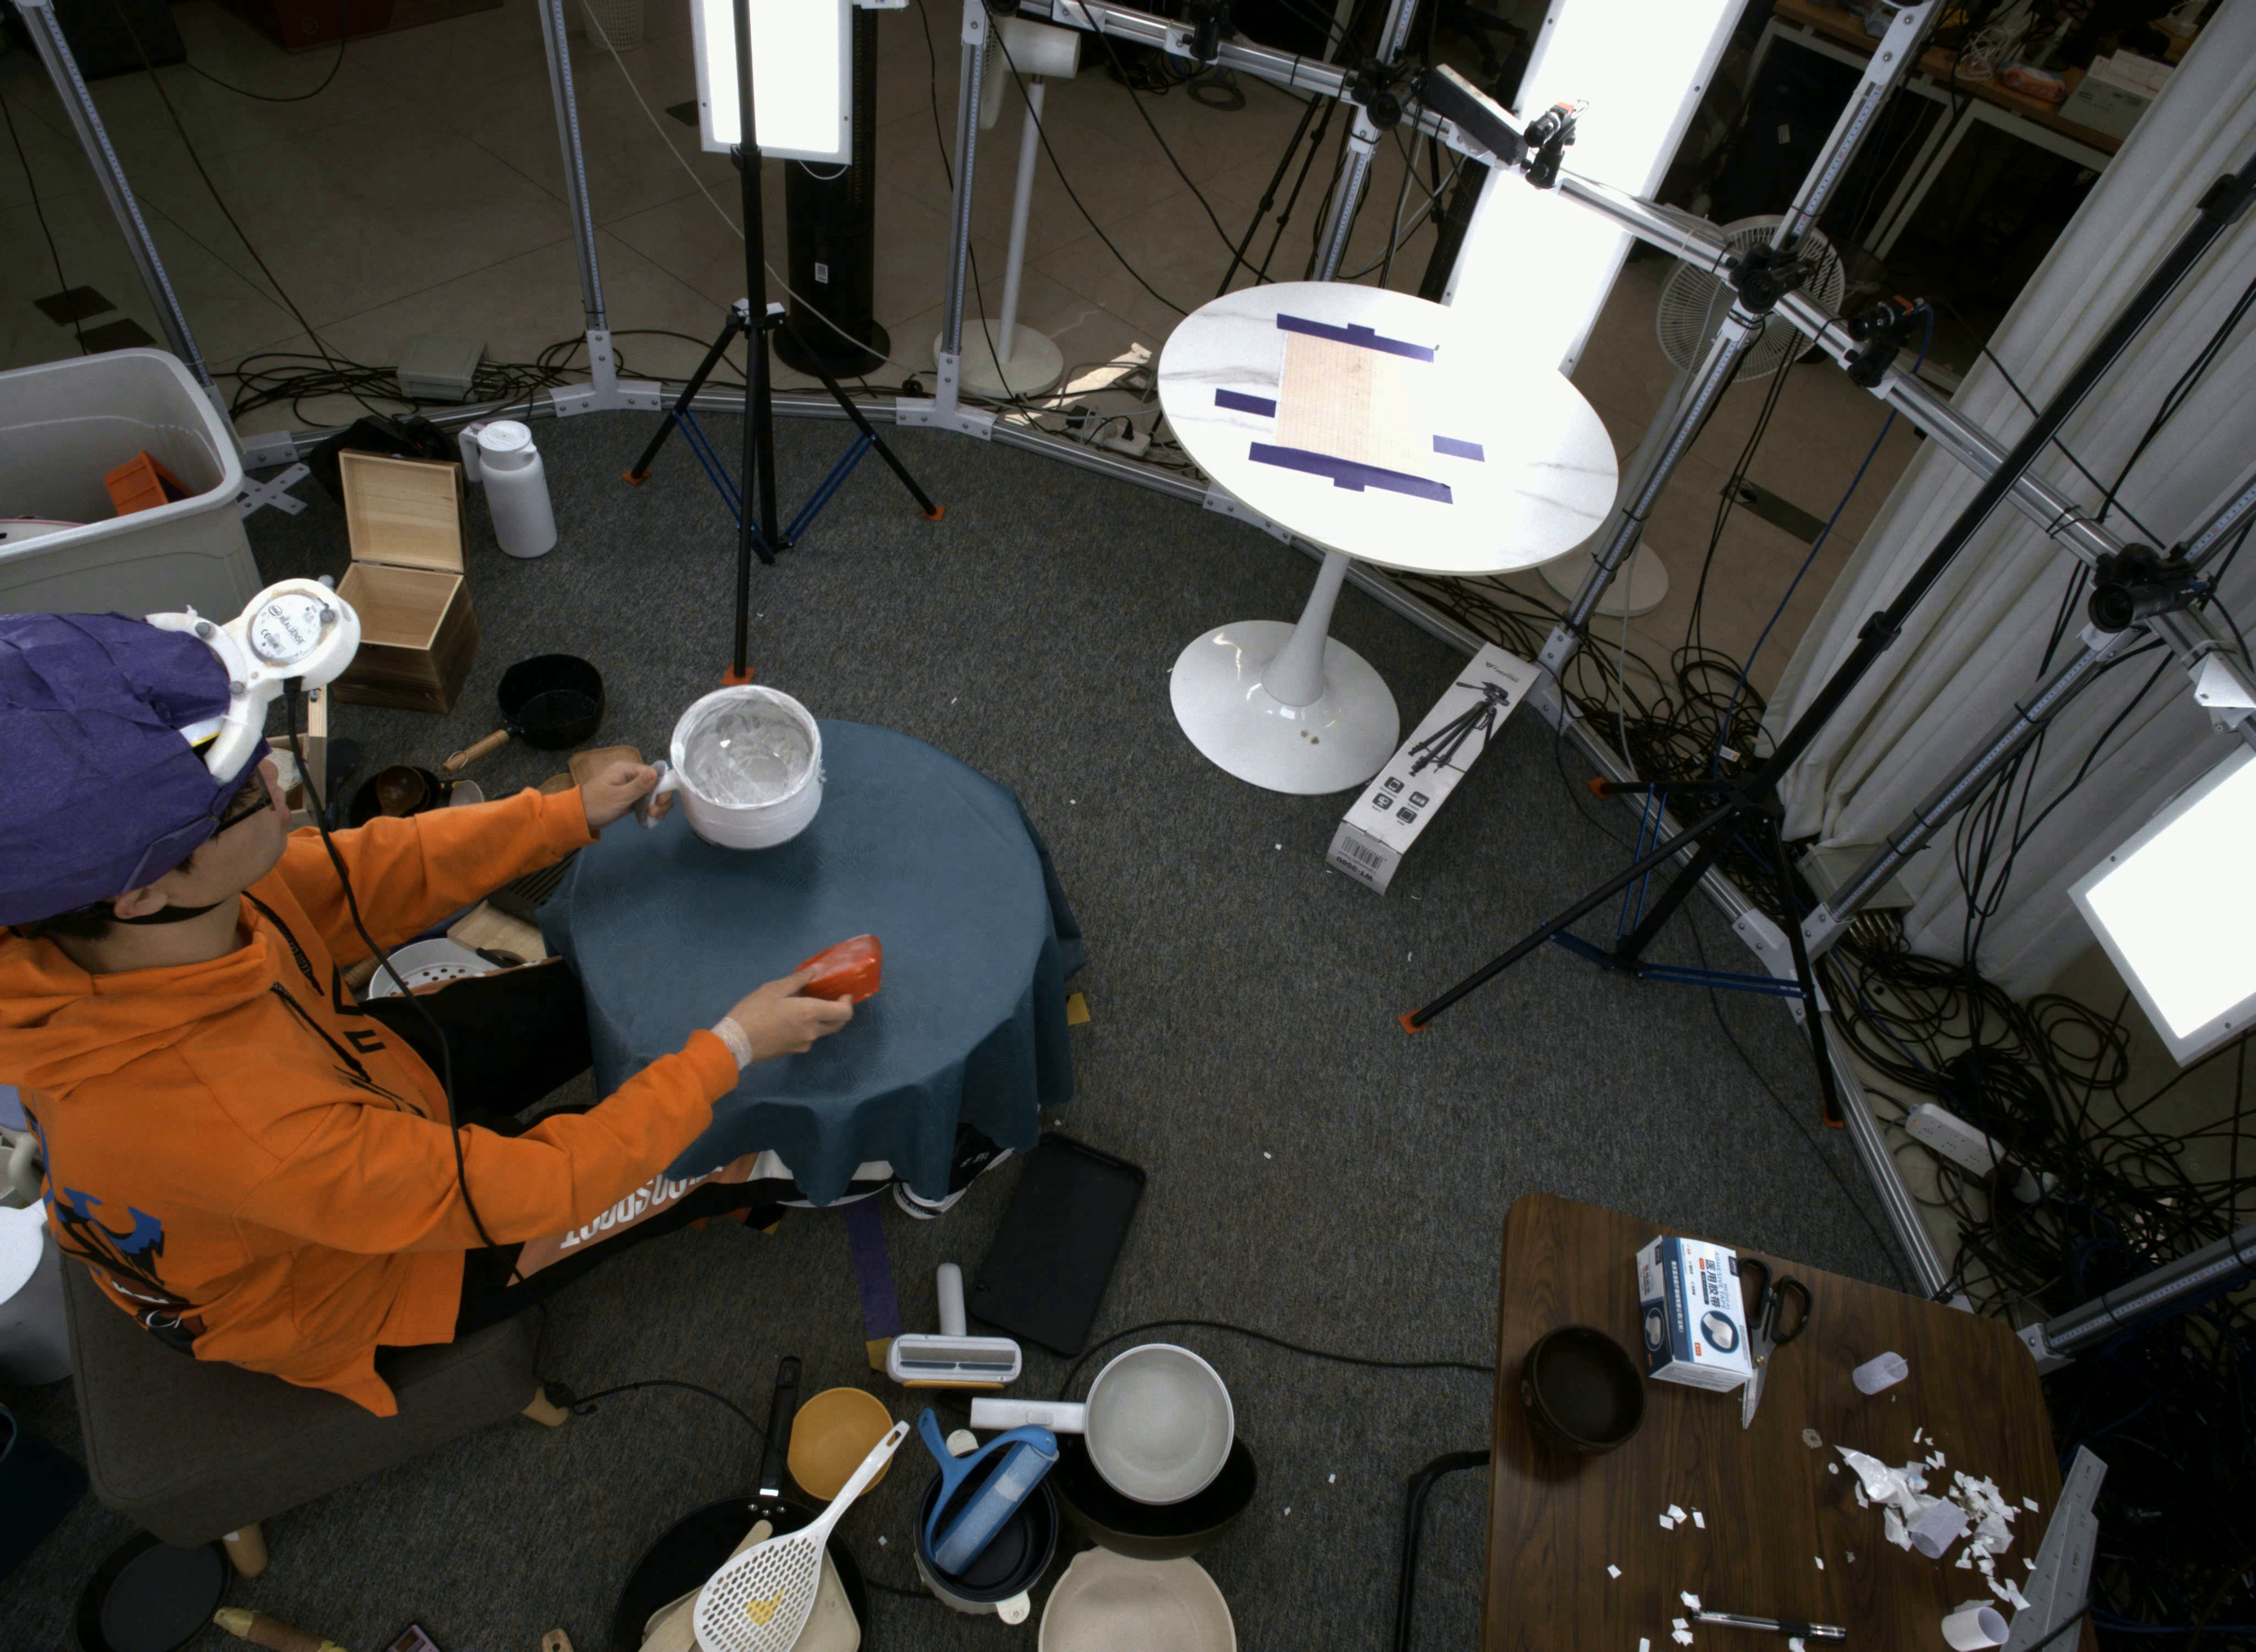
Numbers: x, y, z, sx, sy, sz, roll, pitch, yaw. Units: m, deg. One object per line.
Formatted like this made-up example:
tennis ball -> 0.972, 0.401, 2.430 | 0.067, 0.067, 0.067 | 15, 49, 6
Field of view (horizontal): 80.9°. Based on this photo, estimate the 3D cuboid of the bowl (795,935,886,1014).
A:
bowl -> -0.328, 0.175, 1.516 | 0.117, 0.053, 0.117 | -18, 17, 8

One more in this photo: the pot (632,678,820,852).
pot -> -0.492, -0.062, 1.574 | 0.234, 0.138, 0.175 | -18, 67, -22
